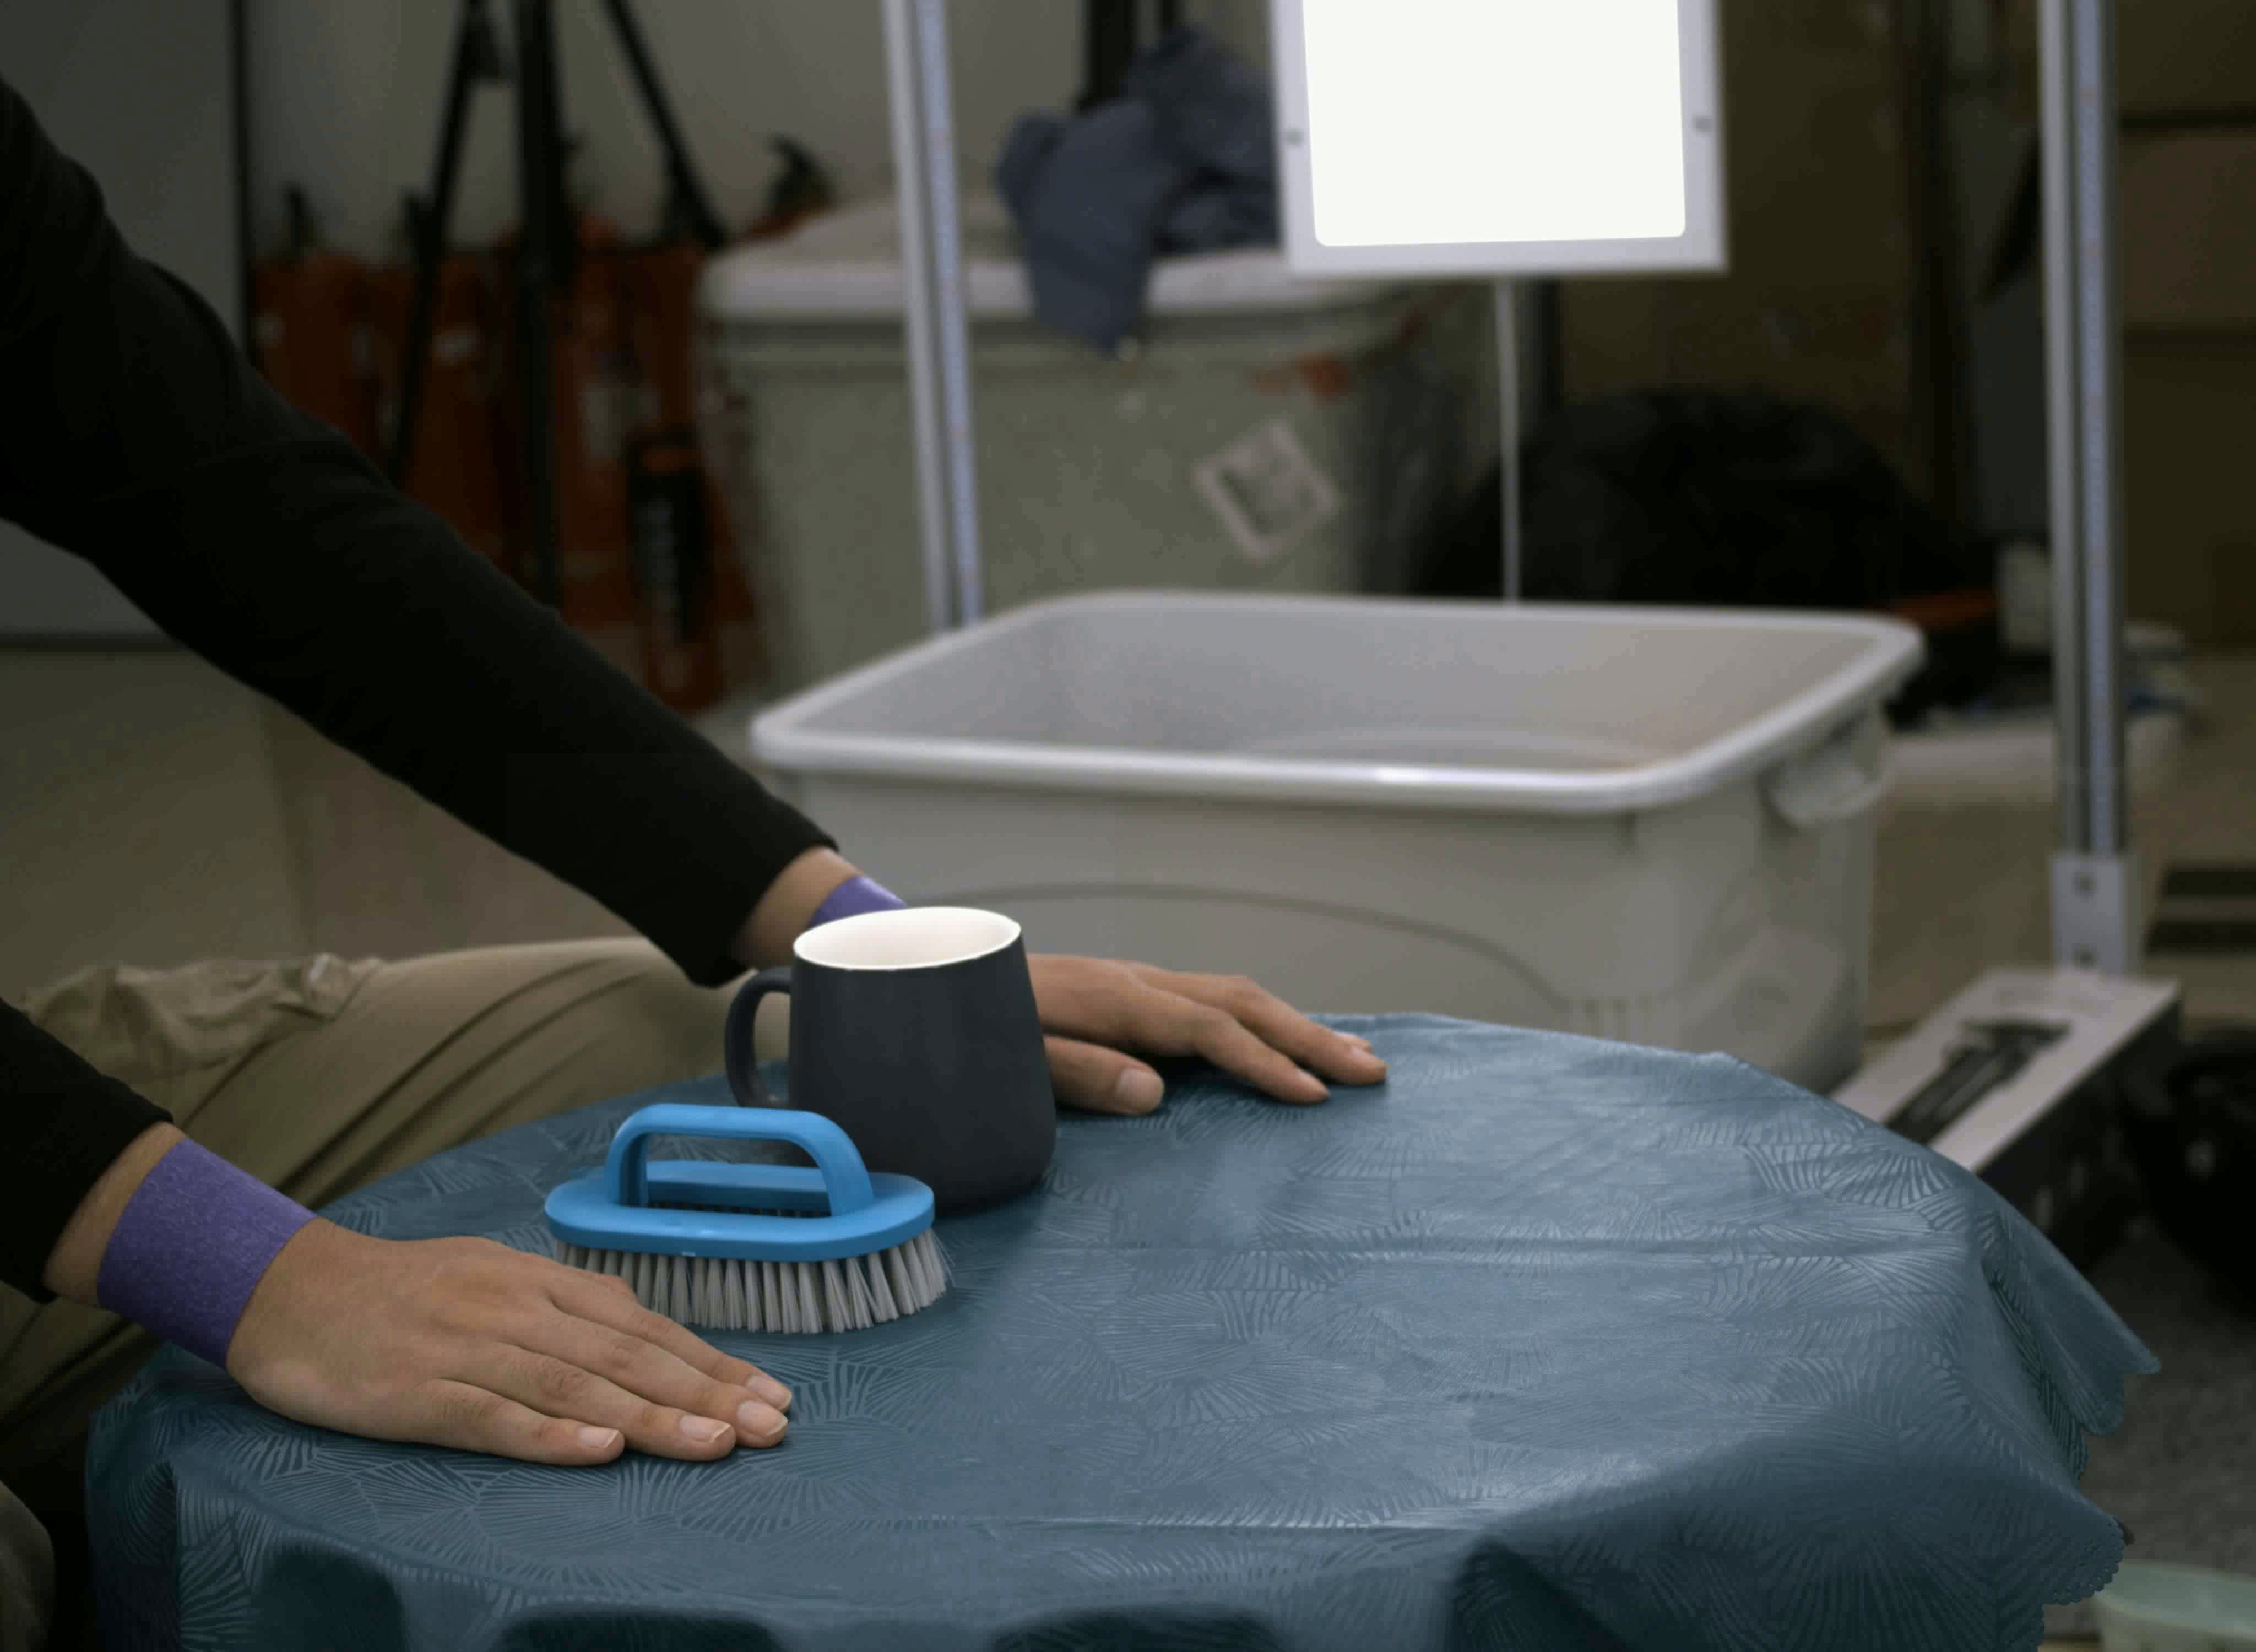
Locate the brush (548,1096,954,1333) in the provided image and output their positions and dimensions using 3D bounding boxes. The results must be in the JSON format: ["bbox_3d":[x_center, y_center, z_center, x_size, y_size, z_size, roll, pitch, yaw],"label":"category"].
[{"bbox_3d":[-0.129,0.122,1.825,0.144,0.064,0.082,1,20,28],"label":"brush"}]

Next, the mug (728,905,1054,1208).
[{"bbox_3d":[-0.086,0.079,1.924,0.125,0.090,0.091,6,17,32],"label":"mug"}]
